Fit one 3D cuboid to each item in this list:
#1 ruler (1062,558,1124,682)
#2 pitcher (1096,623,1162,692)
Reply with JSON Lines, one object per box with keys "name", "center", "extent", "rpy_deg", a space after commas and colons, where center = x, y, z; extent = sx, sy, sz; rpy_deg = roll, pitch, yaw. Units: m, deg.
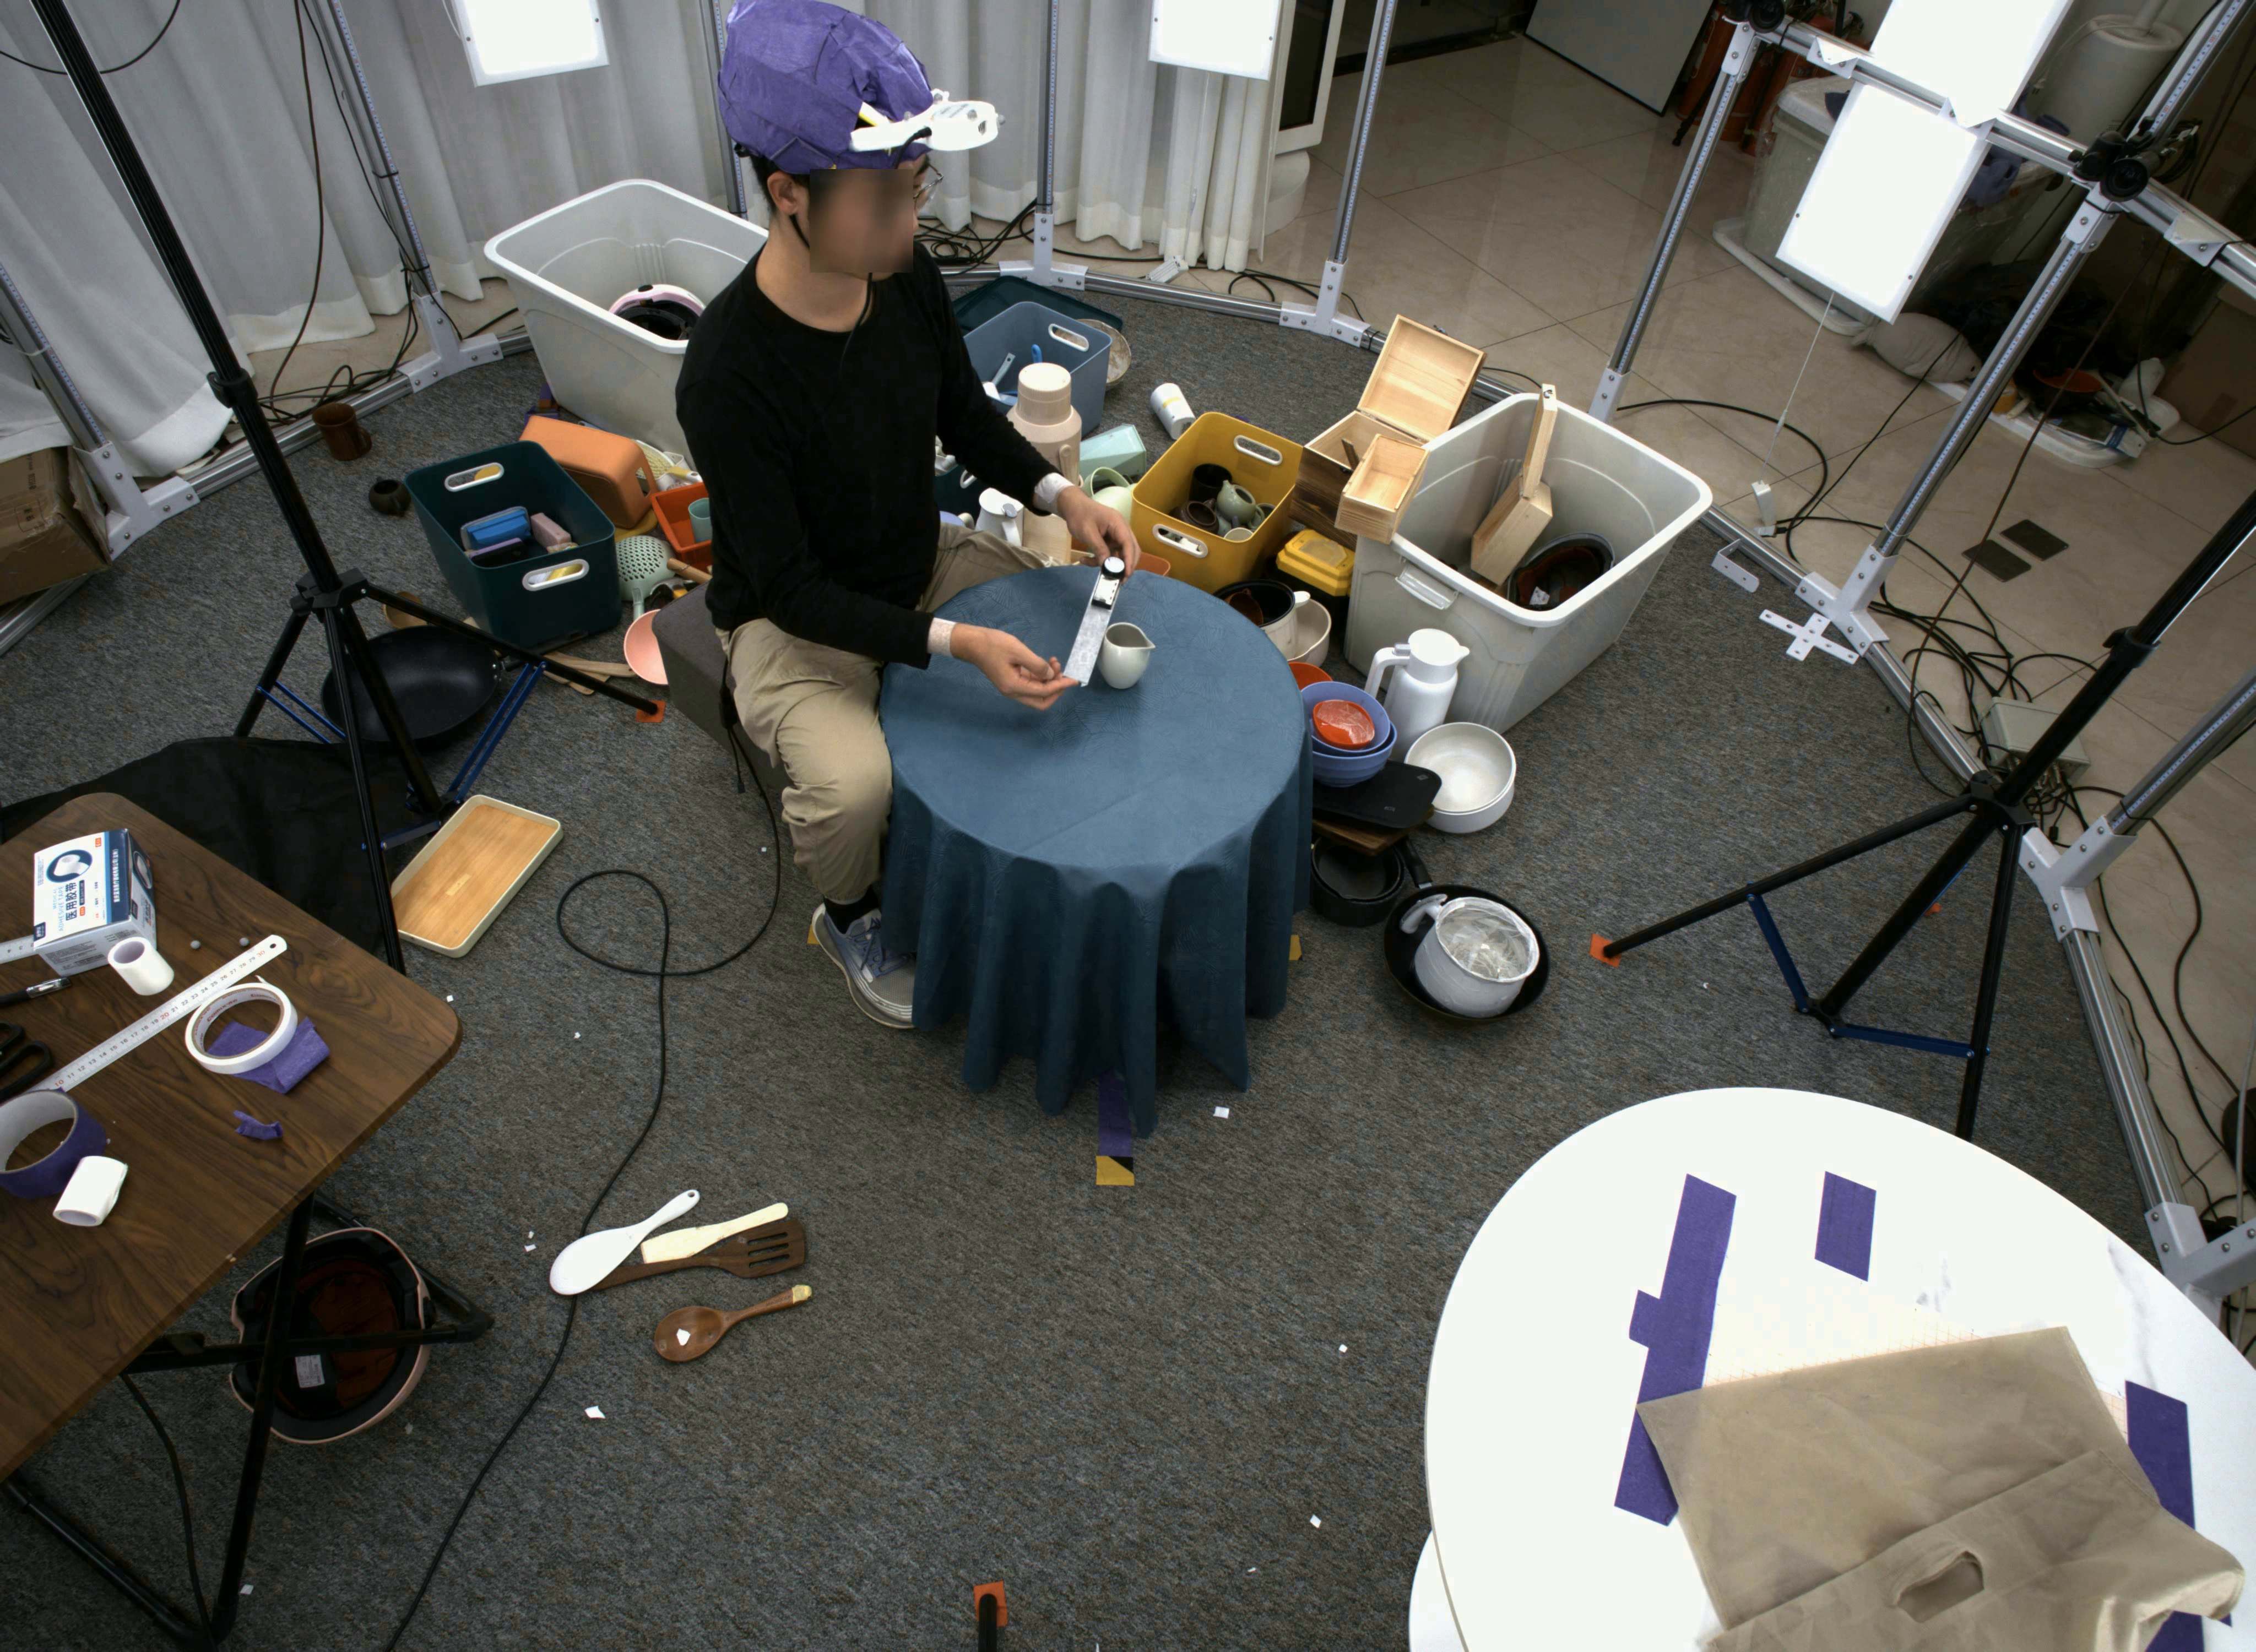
{"name": "ruler", "center": [-0.045, -0.291, 1.788], "extent": [0.038, 0.023, 0.223], "rpy_deg": [13, 56, 6]}
{"name": "pitcher", "center": [-0.006, -0.241, 1.823], "extent": [0.120, 0.086, 0.077], "rpy_deg": [32, 51, 20]}
